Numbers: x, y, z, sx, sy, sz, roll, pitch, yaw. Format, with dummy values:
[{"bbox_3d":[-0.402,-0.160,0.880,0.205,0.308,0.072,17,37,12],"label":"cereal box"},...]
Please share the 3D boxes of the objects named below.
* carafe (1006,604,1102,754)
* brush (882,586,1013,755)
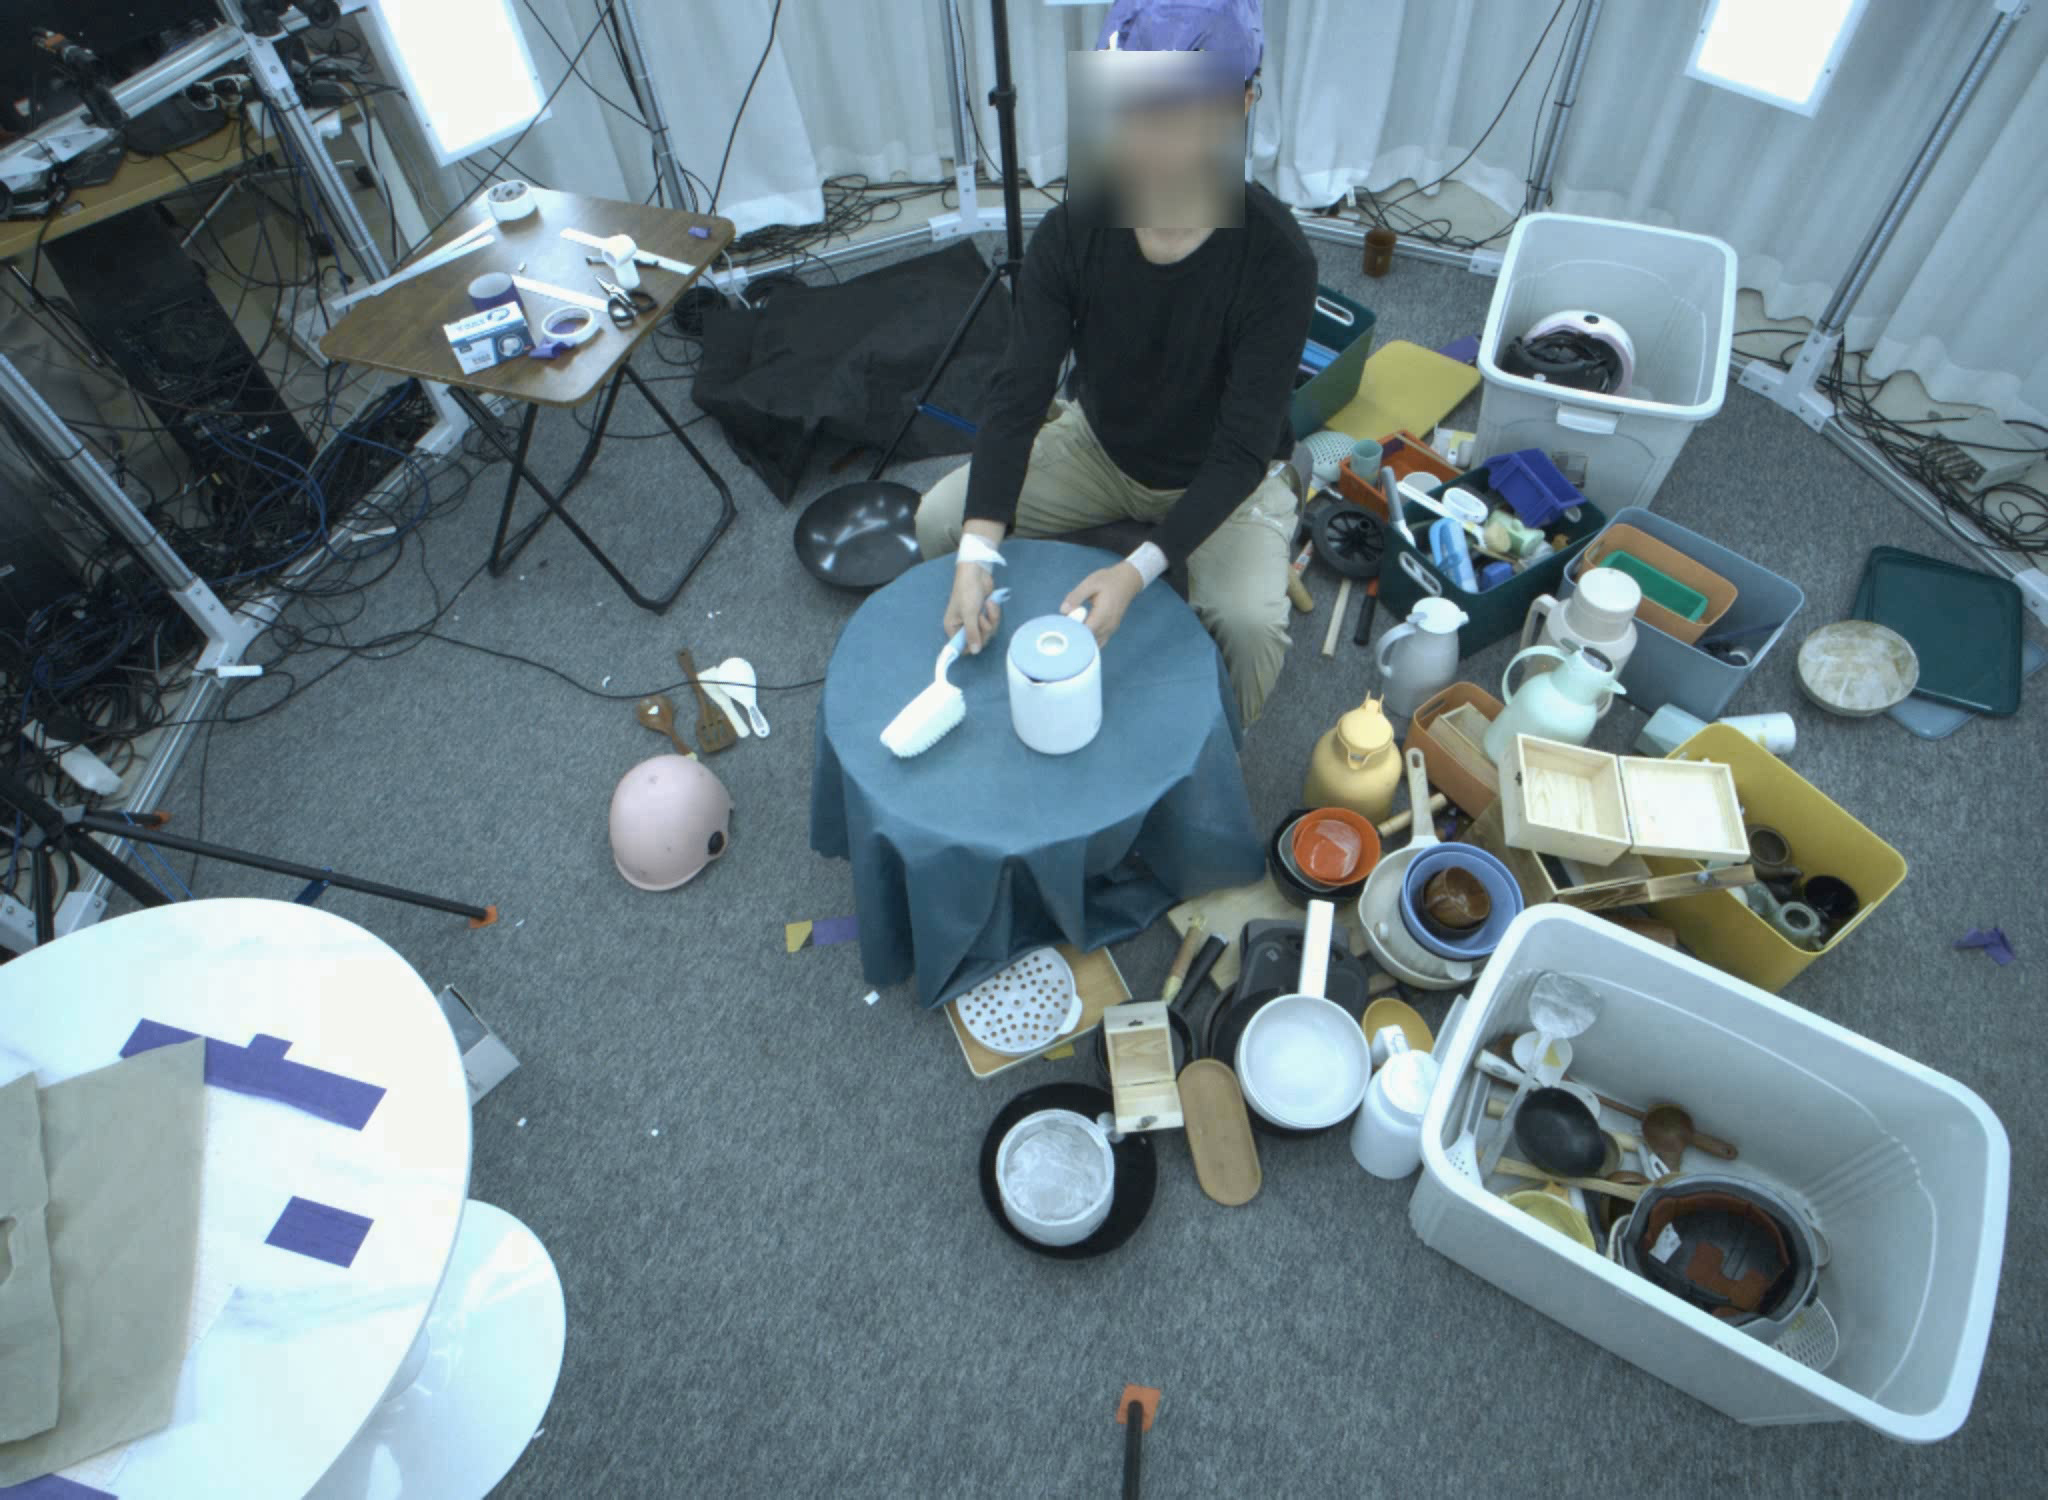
[{"bbox_3d":[0.053,-0.111,1.758,0.131,0.184,0.191,16,56,14],"label":"carafe"},{"bbox_3d":[-0.088,-0.119,1.811,0.085,0.082,0.326,41,67,-11],"label":"brush"}]
